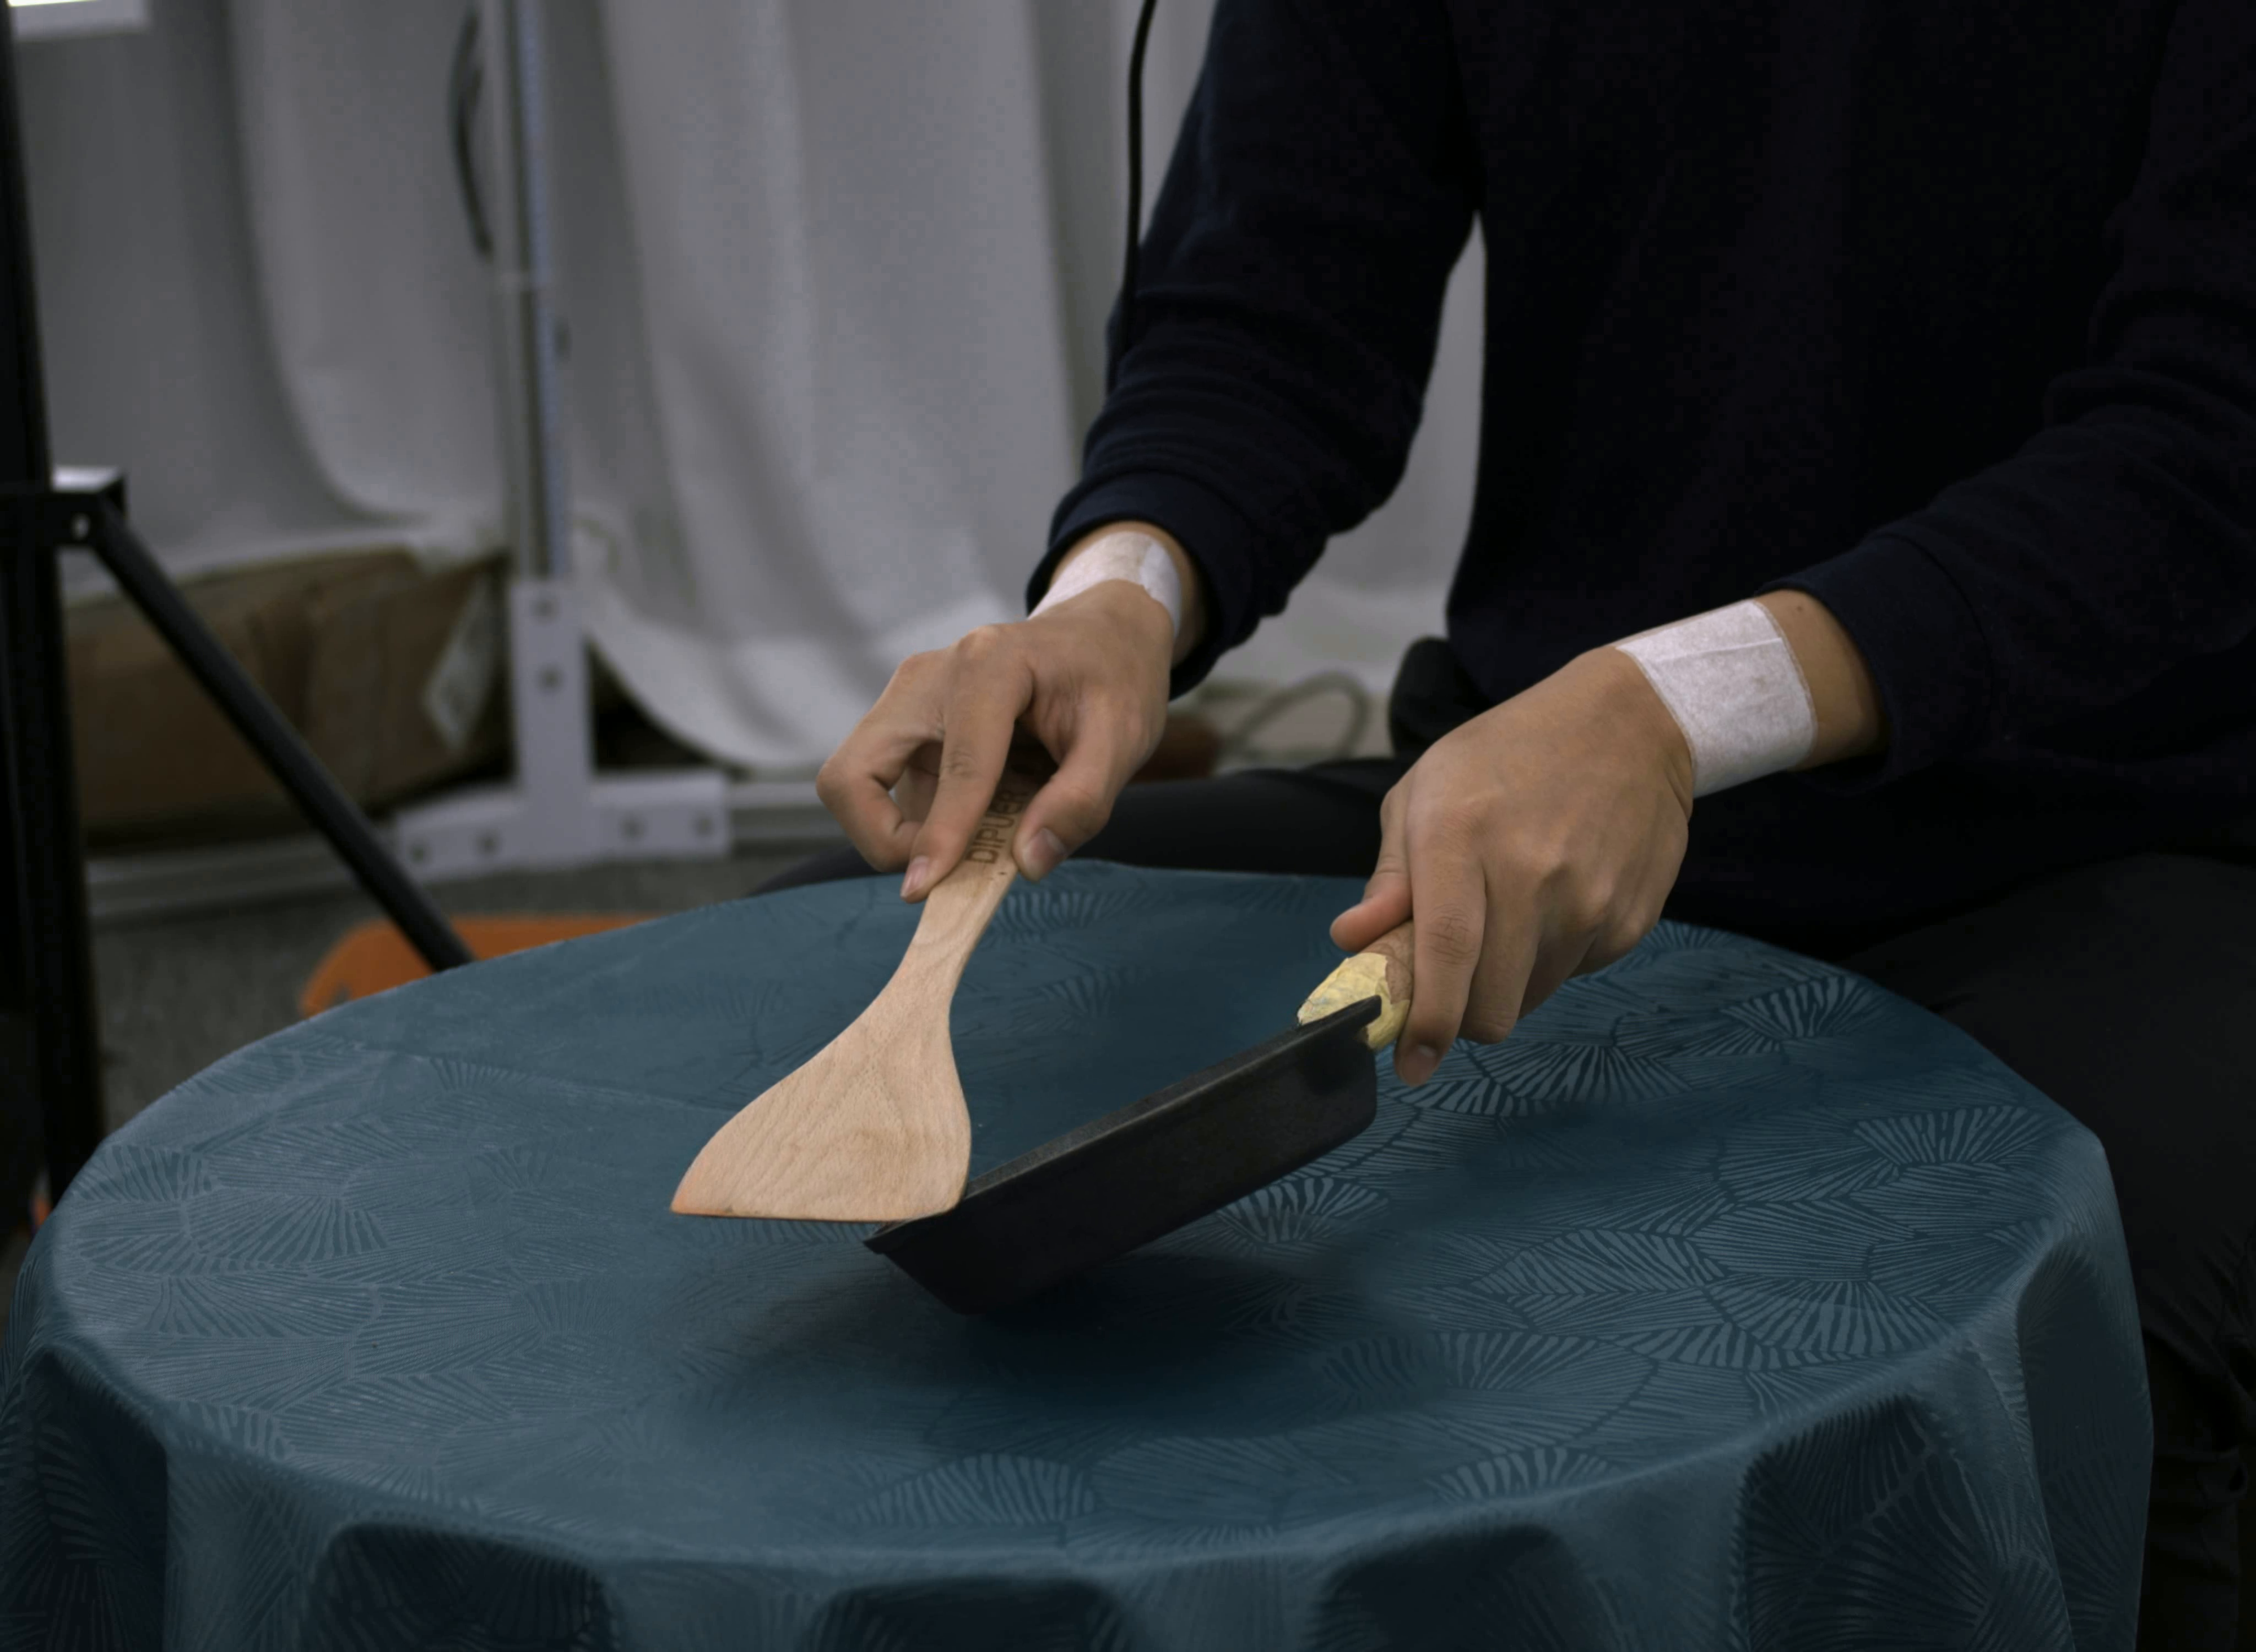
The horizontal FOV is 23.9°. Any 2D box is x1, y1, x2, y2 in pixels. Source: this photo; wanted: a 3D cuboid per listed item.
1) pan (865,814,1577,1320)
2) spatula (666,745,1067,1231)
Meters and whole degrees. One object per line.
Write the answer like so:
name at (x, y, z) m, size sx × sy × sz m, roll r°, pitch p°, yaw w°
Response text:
pan at (0.052, 0.064, 1.513) m, size 0.171 × 0.050 × 0.318 m, roll -27°, pitch -1°, yaw 42°
spatula at (-0.058, 0.043, 1.555) m, size 0.080 × 0.016 × 0.327 m, roll 5°, pitch 26°, yaw 9°
